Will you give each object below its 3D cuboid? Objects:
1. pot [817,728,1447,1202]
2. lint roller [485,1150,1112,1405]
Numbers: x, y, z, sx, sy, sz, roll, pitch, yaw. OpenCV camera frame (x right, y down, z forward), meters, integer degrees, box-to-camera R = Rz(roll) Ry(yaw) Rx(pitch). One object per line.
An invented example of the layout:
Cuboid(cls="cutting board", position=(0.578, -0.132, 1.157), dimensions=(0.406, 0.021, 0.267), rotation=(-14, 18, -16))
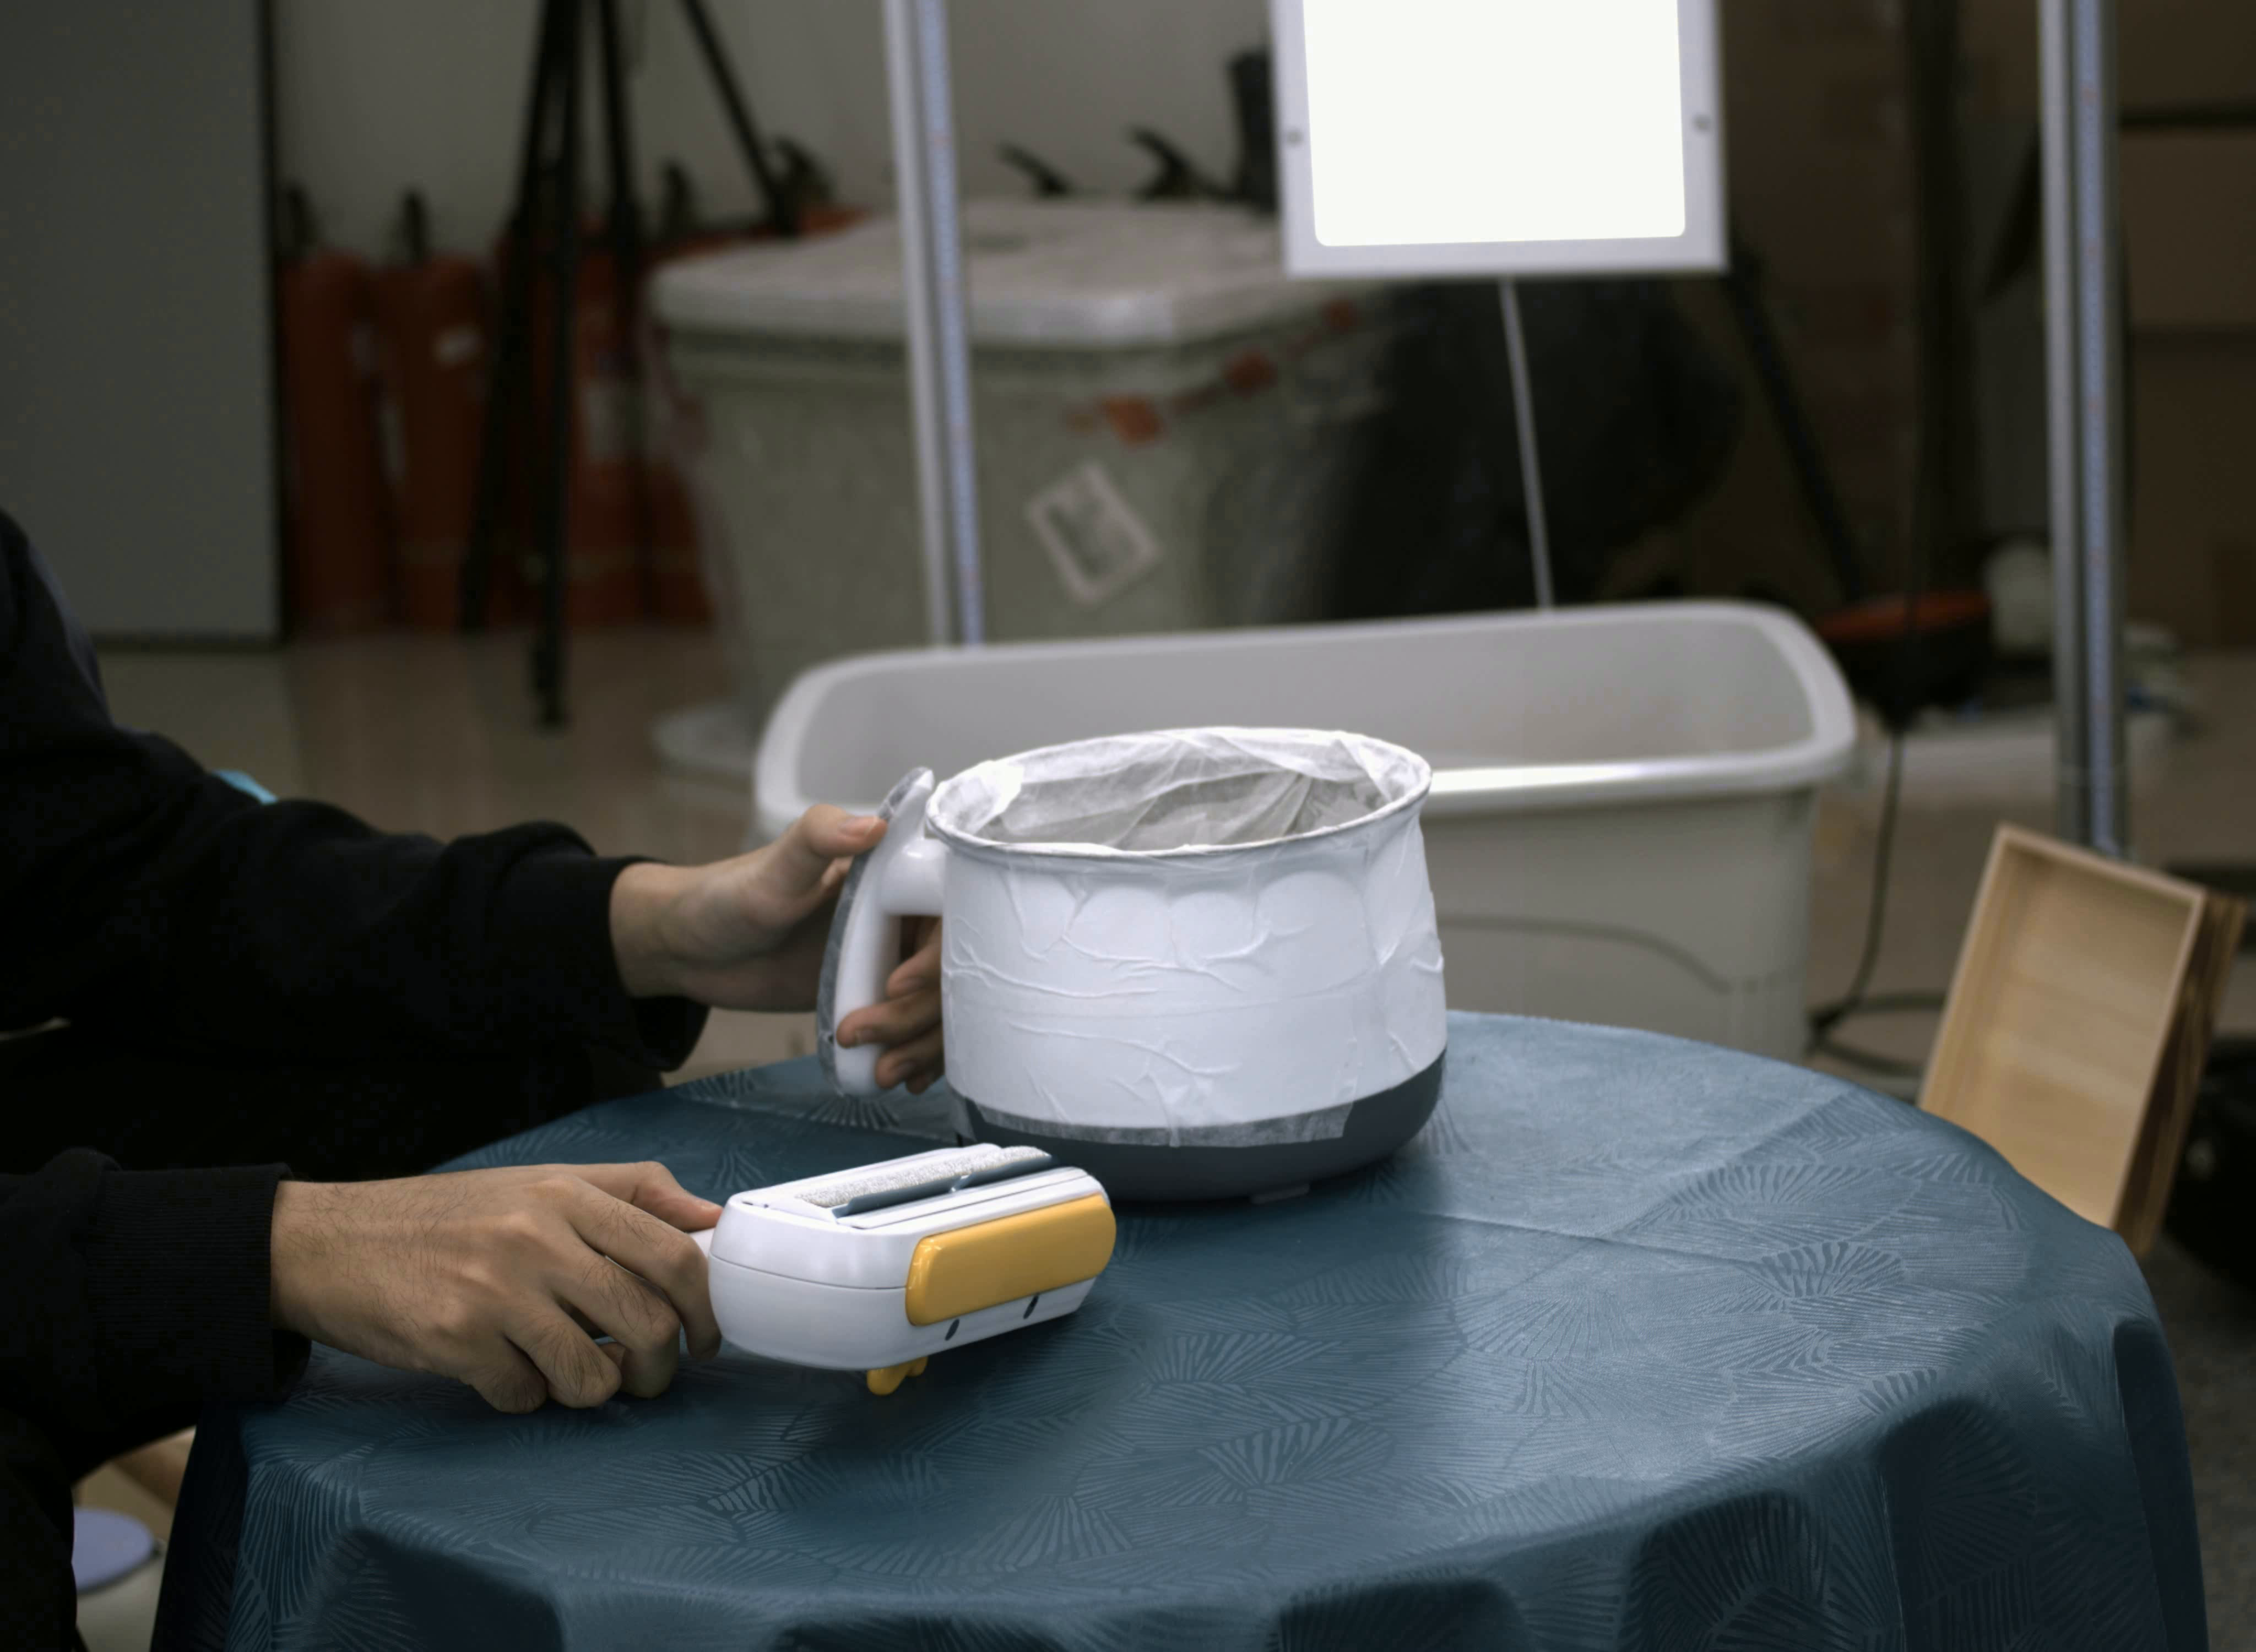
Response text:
Cuboid(cls="pot", position=(-0.003, 0.046, 1.929), dimensions=(0.237, 0.137, 0.175), rotation=(3, 14, 24))
Cuboid(cls="lint roller", position=(-0.120, 0.140, 1.741), dimensions=(0.196, 0.074, 0.188), rotation=(1, 7, 29))
